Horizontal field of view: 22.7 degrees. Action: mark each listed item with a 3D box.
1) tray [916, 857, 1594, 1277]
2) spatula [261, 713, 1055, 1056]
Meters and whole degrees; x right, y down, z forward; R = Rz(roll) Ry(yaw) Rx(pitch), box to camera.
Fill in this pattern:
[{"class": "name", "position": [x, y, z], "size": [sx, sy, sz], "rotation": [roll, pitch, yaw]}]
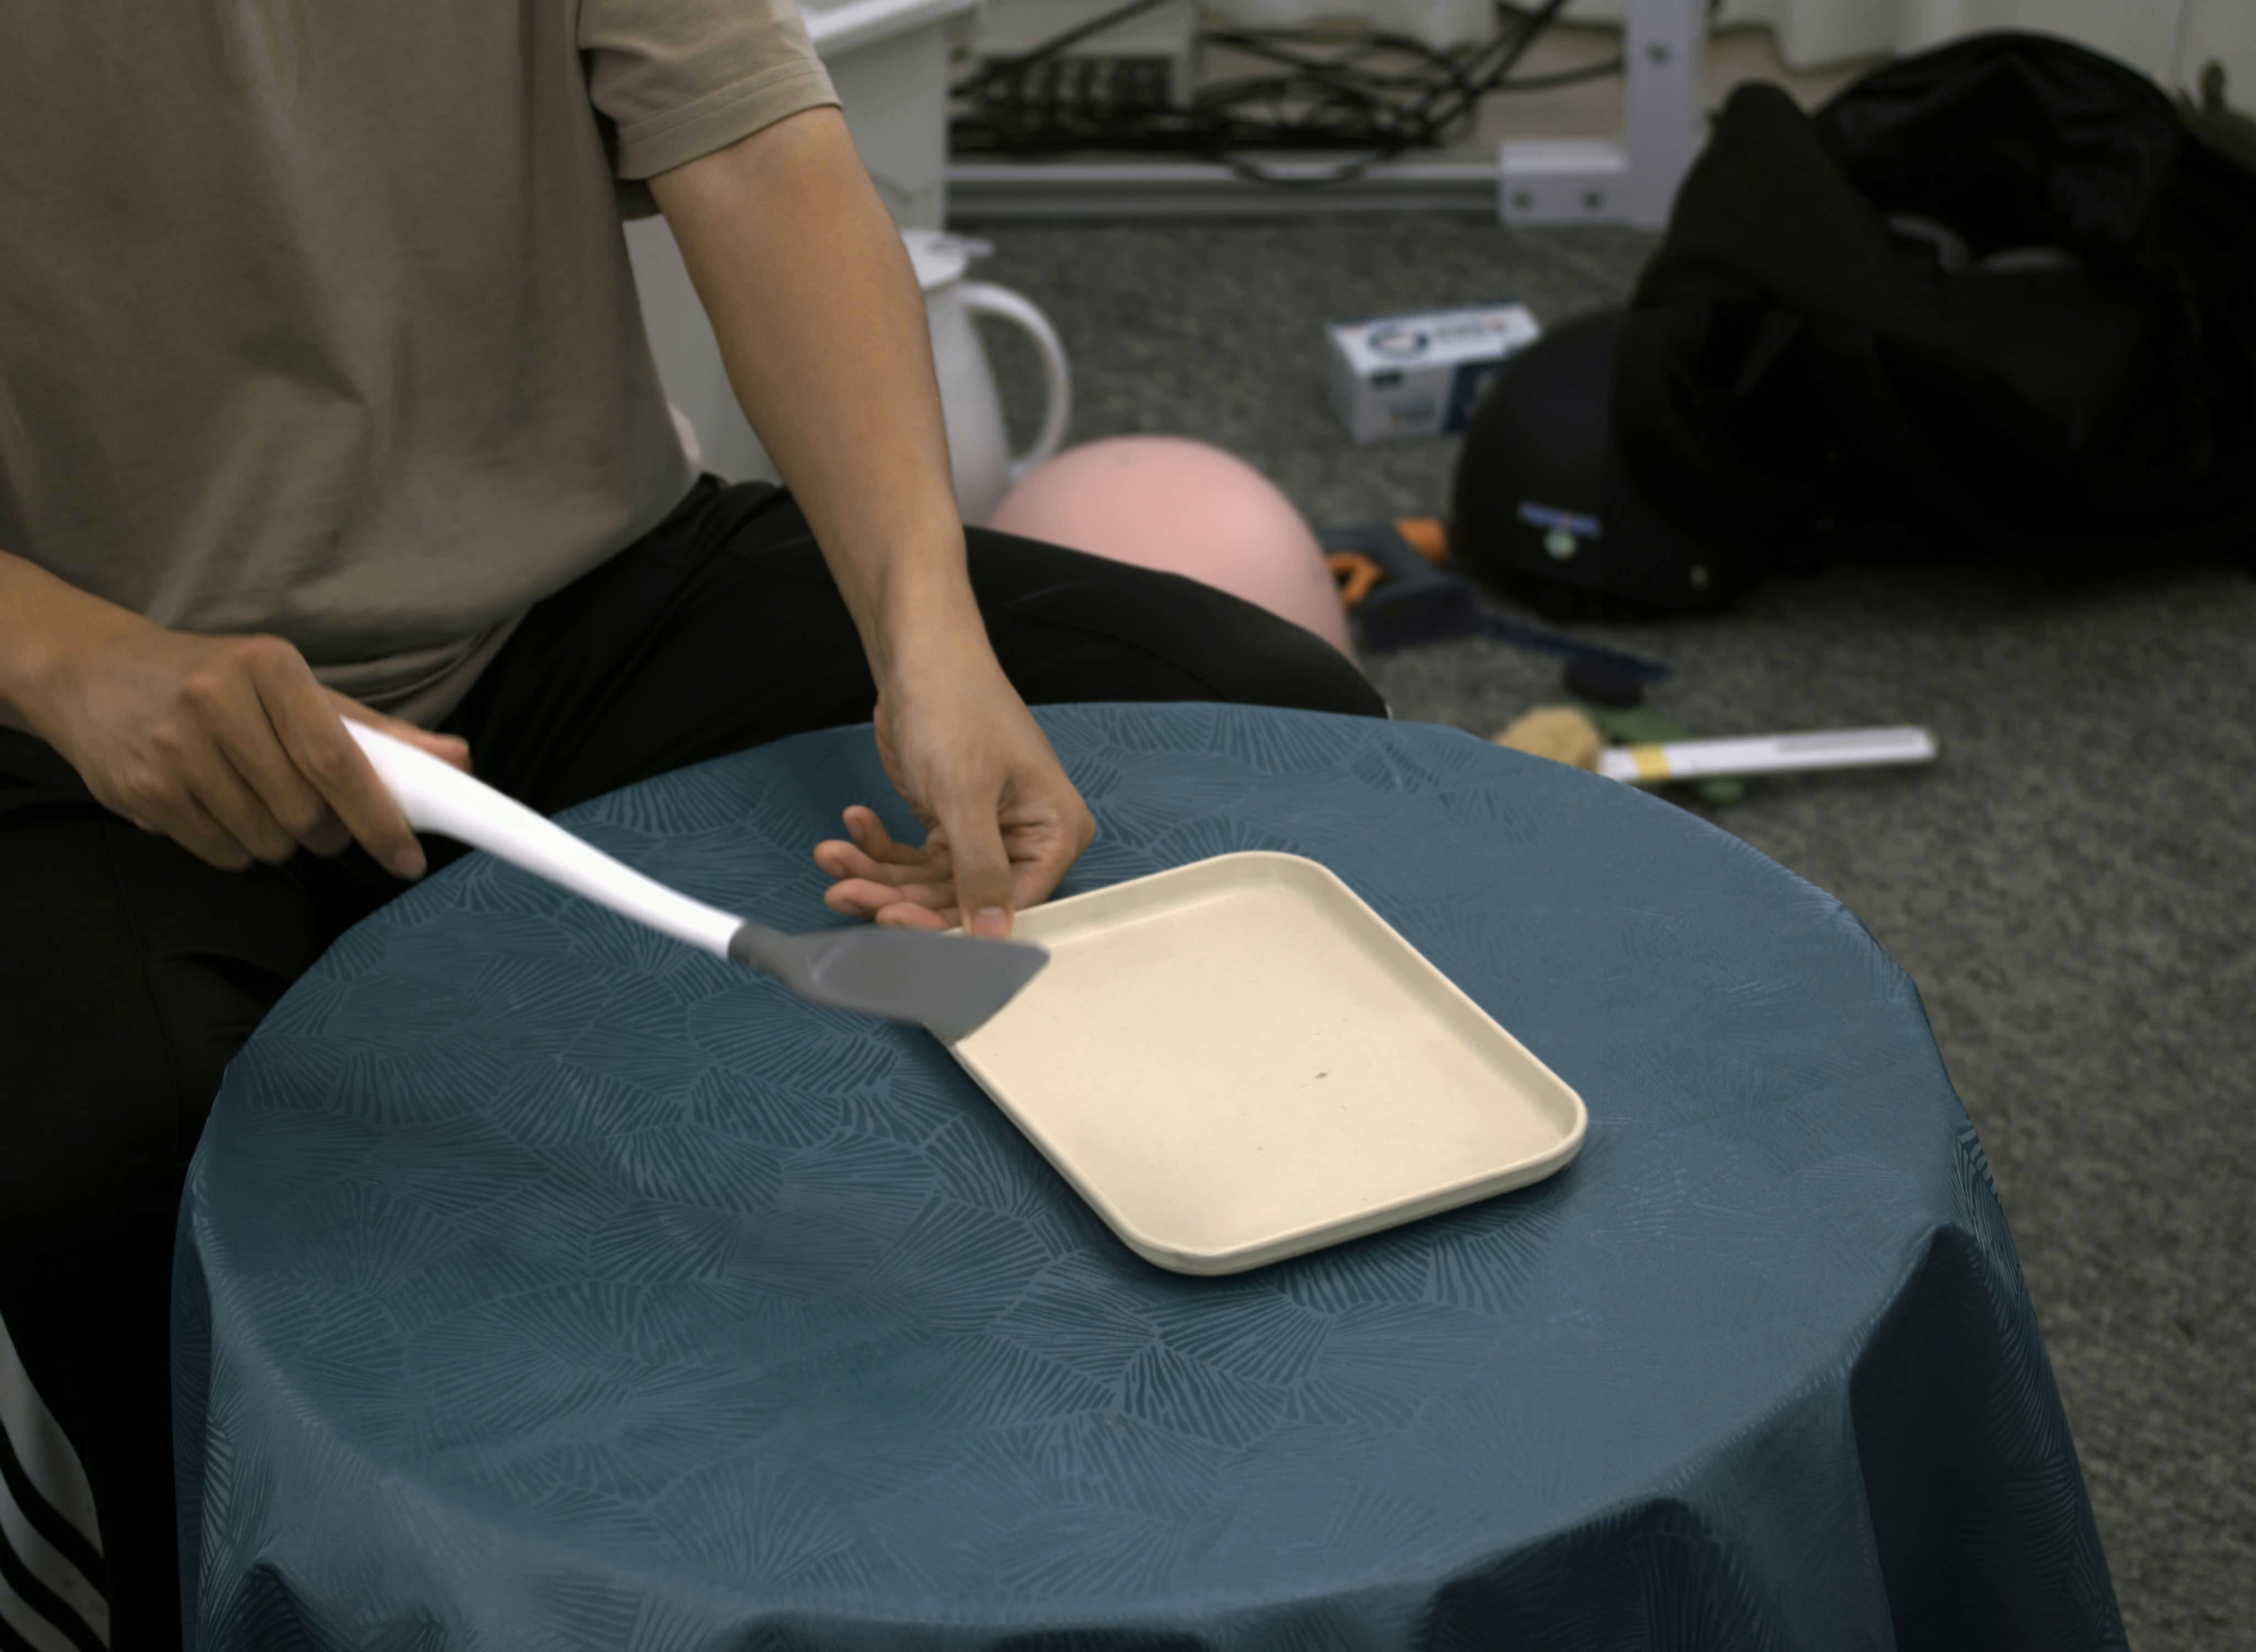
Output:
[{"class": "tray", "position": [0.037, 0.081, 1.919], "size": [0.172, 0.017, 0.241], "rotation": [-14, 30, -22]}, {"class": "spatula", "position": [-0.155, 0.022, 1.812], "size": [0.286, 0.032, 0.059], "rotation": [20, 33, 23]}]
